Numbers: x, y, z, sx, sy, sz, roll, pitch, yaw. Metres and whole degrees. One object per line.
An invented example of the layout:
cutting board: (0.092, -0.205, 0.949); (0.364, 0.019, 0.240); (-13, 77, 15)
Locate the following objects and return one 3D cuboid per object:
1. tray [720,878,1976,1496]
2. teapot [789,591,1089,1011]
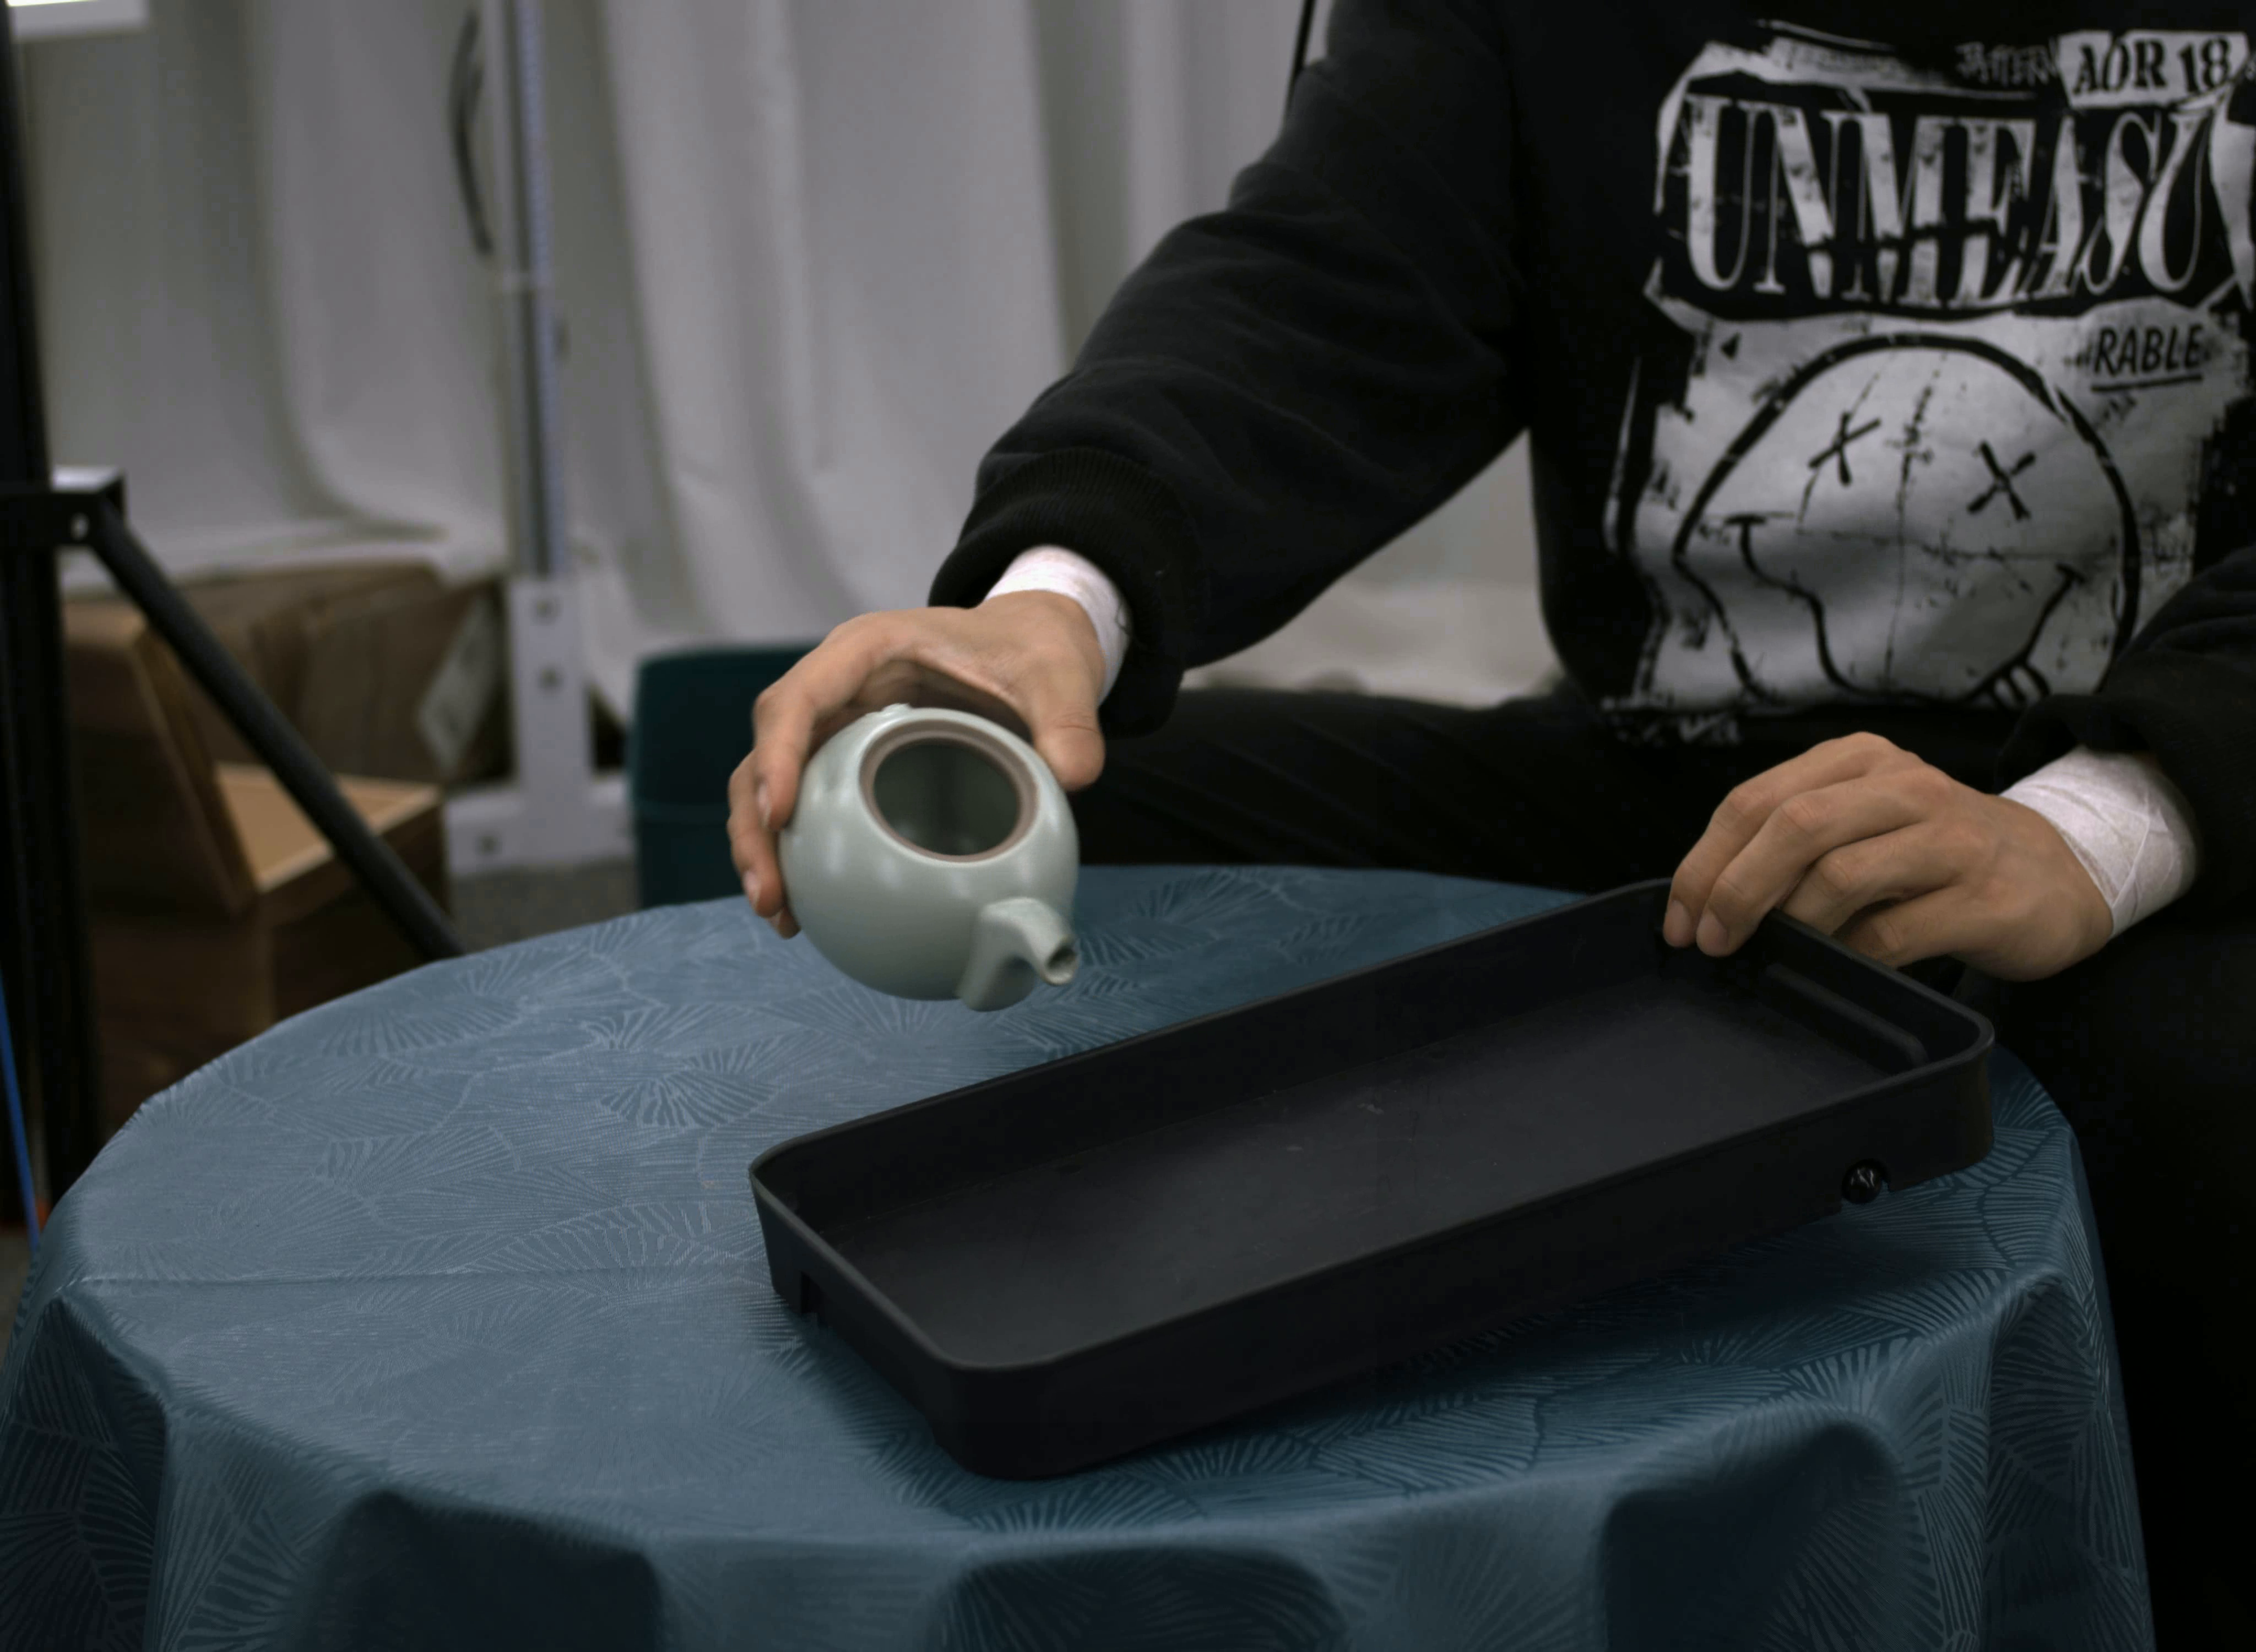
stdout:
tray: (0.062, 0.093, 1.462); (0.312, 0.037, 0.188); (-17, 21, -20)
teapot: (-0.055, 0.006, 1.551); (0.086, 0.075, 0.146); (-14, 61, -26)
